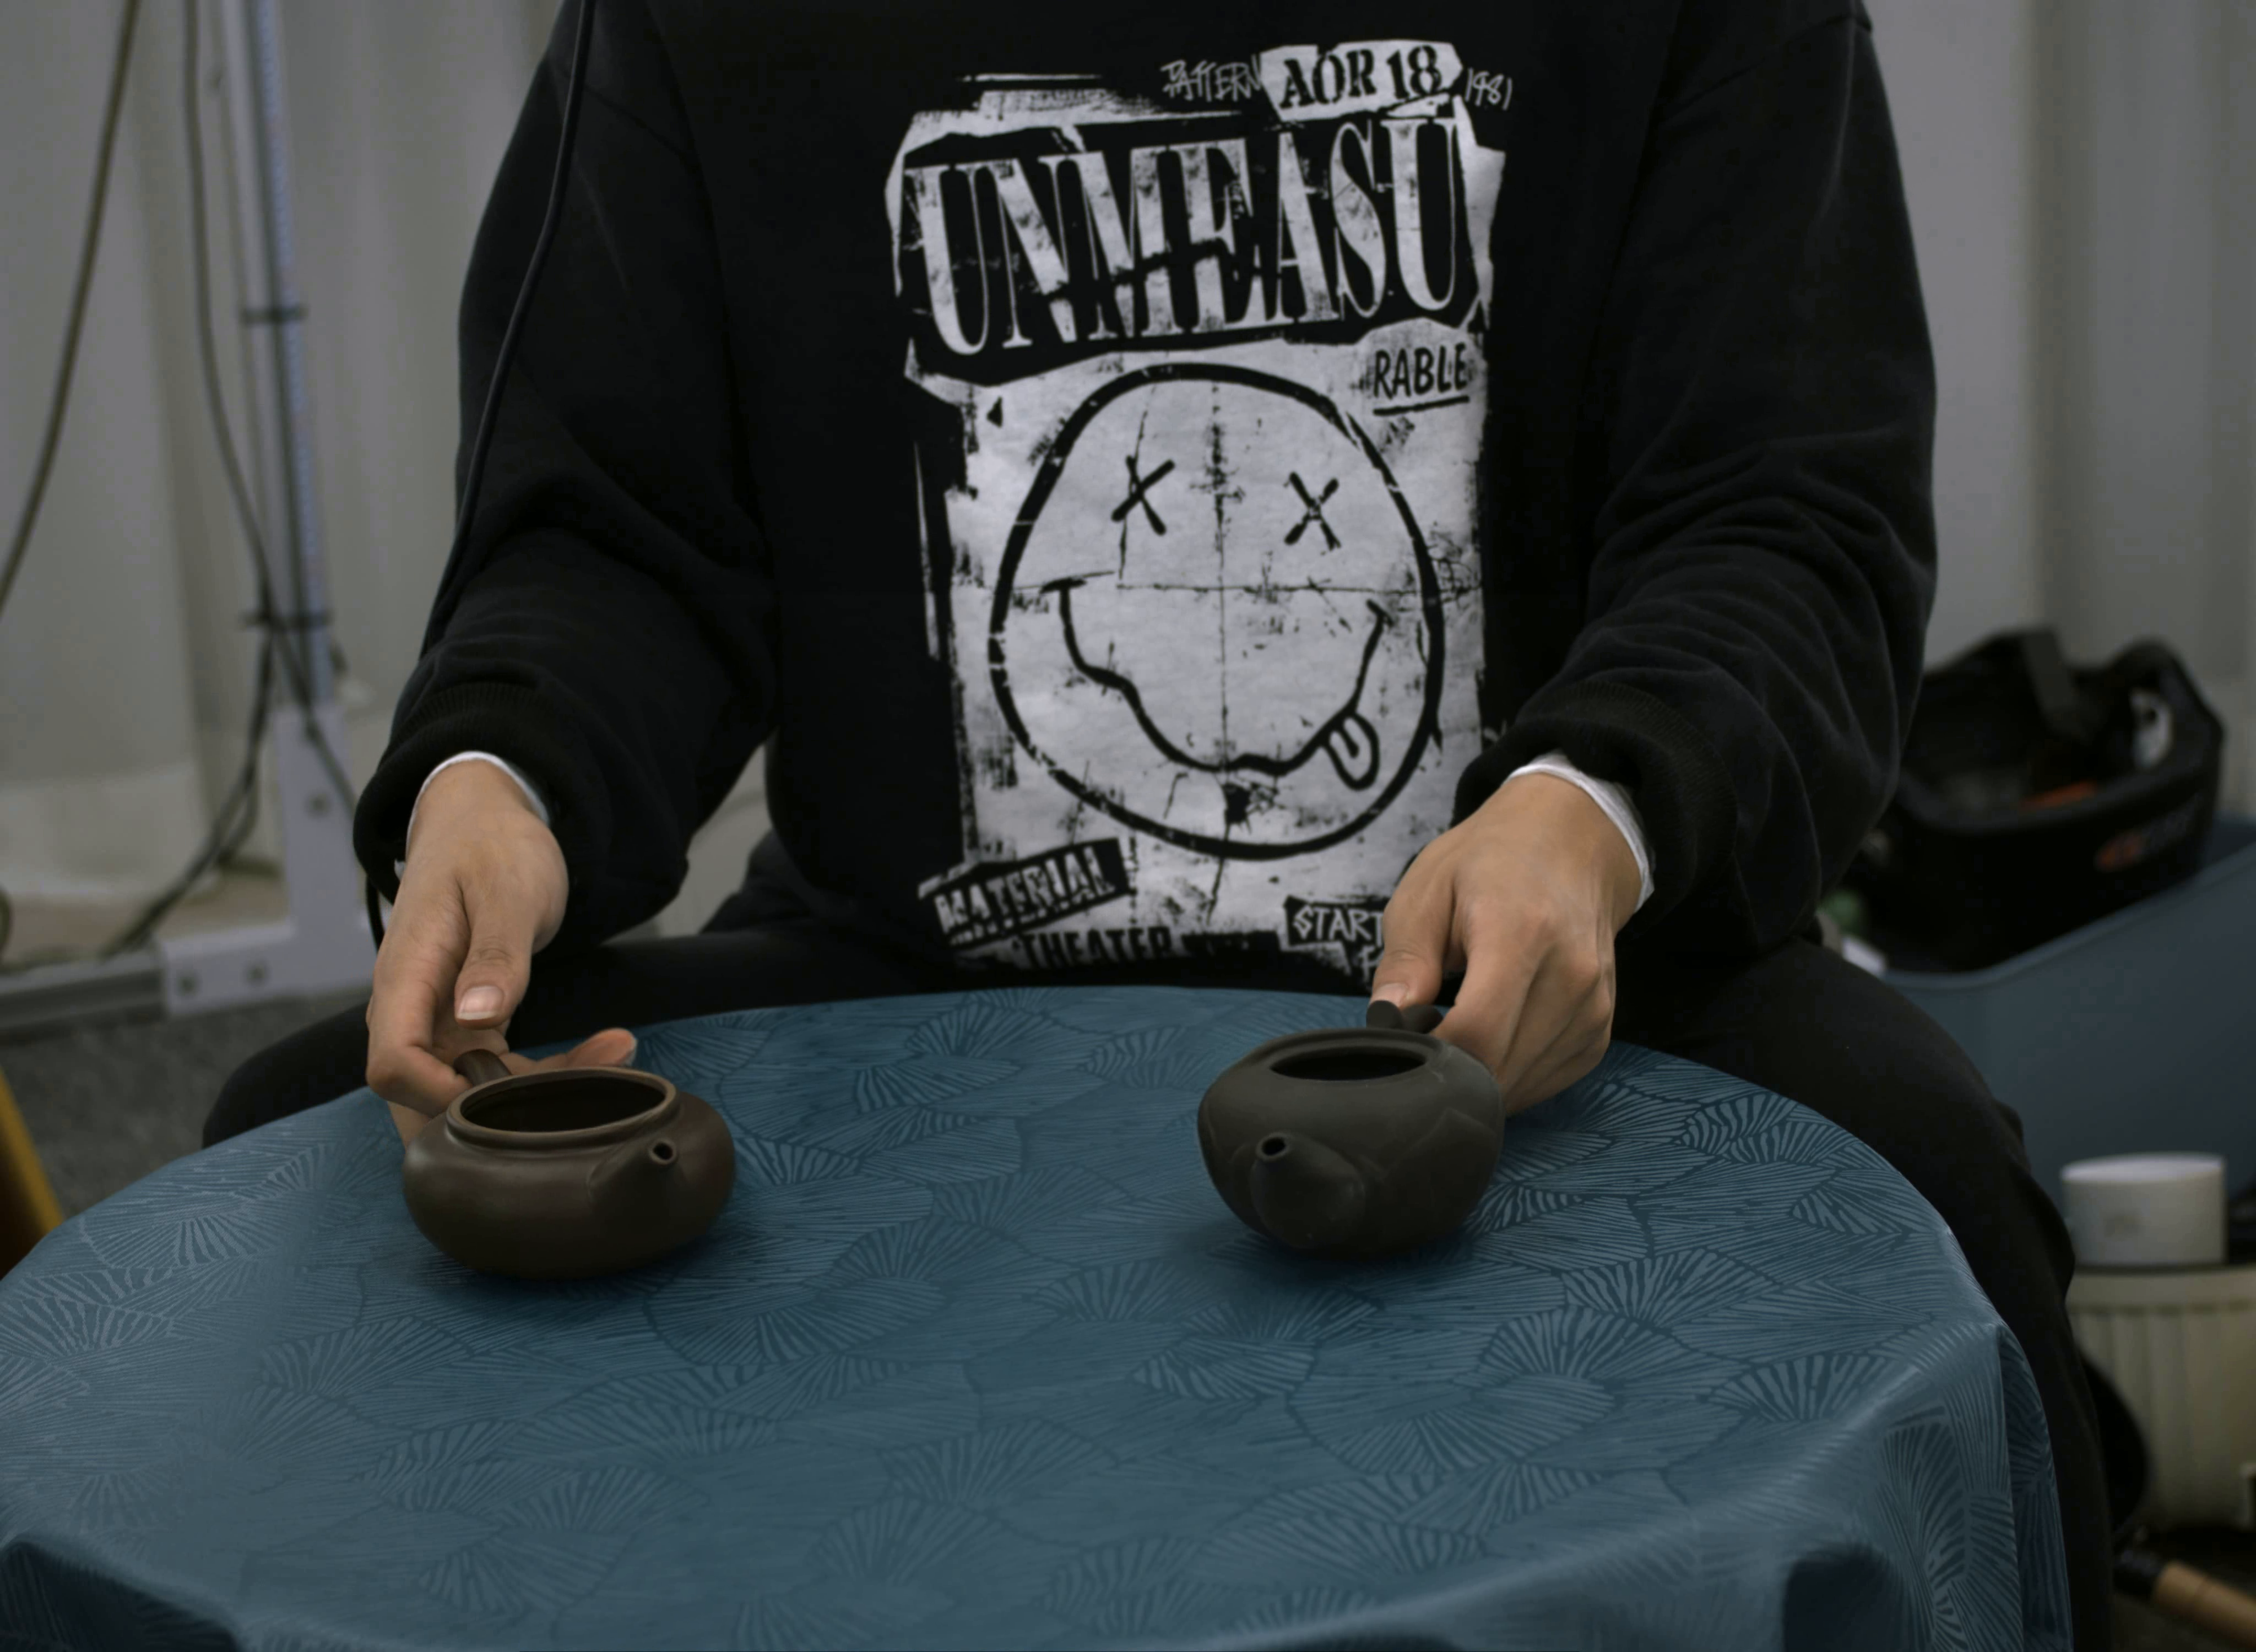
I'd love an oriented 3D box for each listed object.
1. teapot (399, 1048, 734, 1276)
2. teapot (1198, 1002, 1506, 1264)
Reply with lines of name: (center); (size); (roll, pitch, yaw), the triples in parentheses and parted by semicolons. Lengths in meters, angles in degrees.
teapot: (-0.175, 0.104, 1.684); (0.102, 0.053, 0.154); (-10, 17, -35)
teapot: (0.069, 0.094, 1.657); (0.092, 0.064, 0.154); (5, 17, 22)
